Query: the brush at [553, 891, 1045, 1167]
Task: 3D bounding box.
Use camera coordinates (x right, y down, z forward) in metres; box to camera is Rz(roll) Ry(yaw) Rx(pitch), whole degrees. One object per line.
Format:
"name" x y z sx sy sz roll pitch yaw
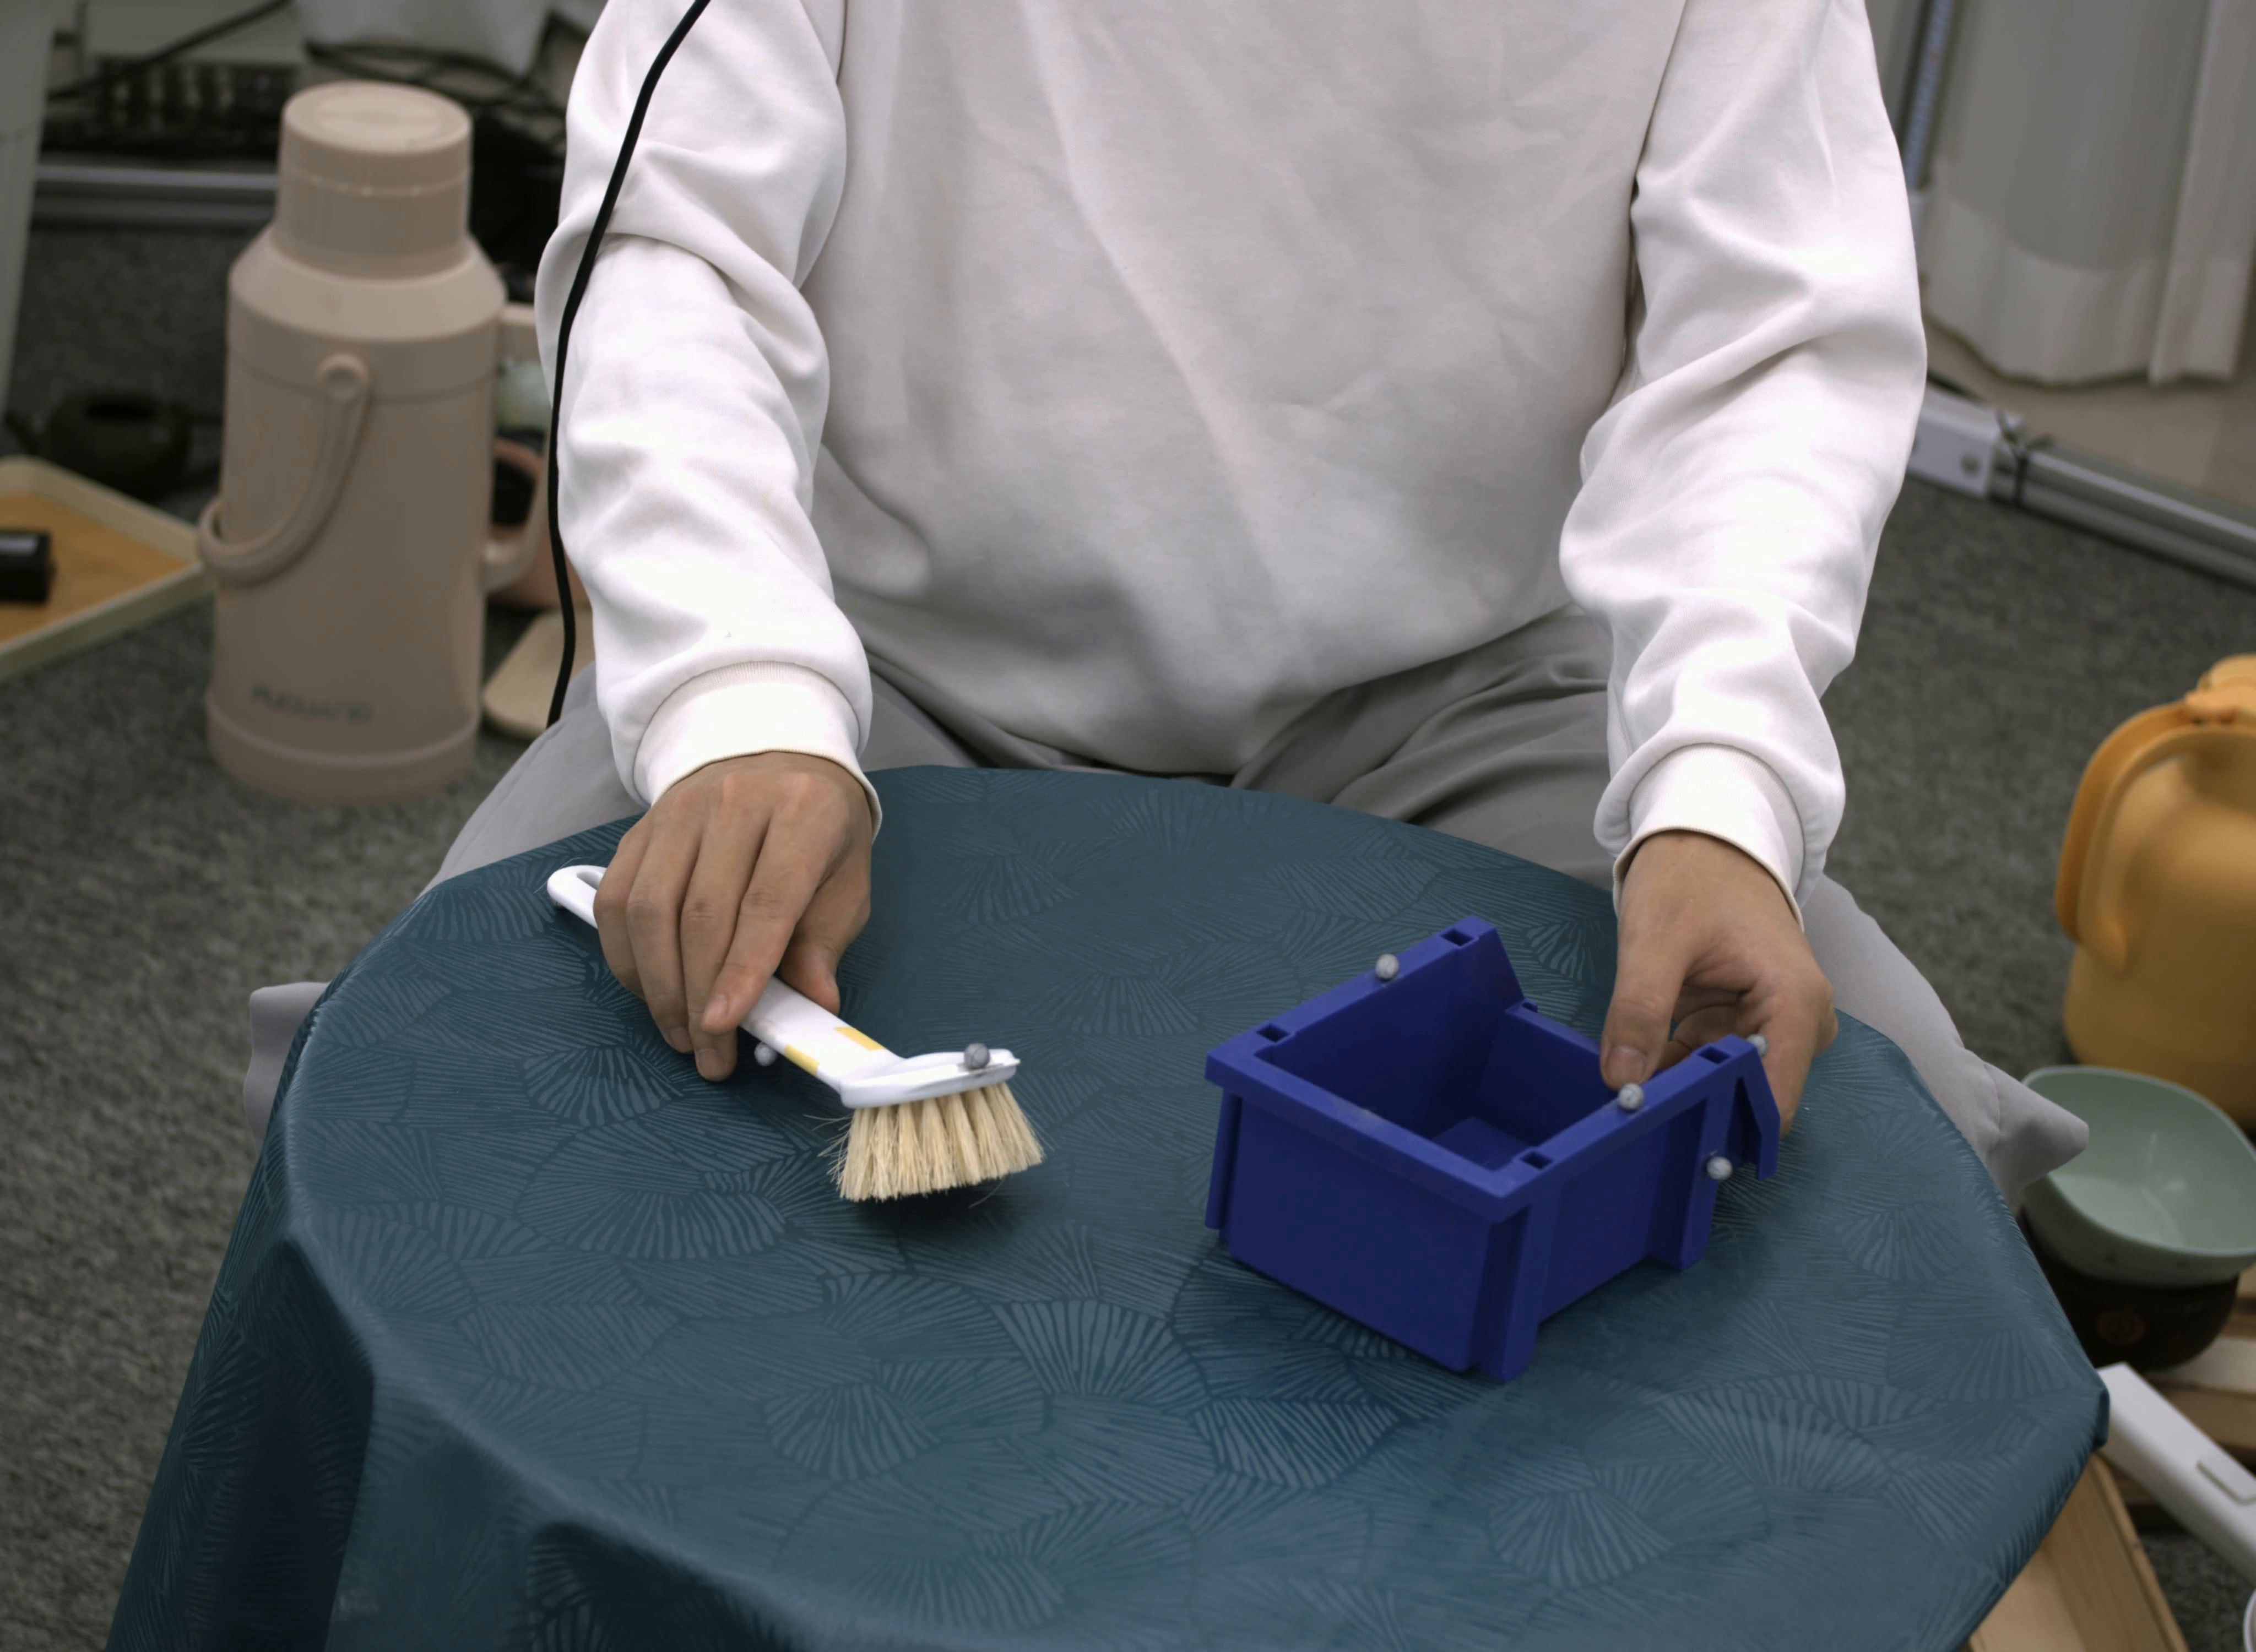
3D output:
"brush" -0.122 0.074 1.853 0.068 0.056 0.268 2 9 -40

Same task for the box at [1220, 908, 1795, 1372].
"box" 0.127 0.101 1.792 0.125 0.081 0.179 25 33 33
